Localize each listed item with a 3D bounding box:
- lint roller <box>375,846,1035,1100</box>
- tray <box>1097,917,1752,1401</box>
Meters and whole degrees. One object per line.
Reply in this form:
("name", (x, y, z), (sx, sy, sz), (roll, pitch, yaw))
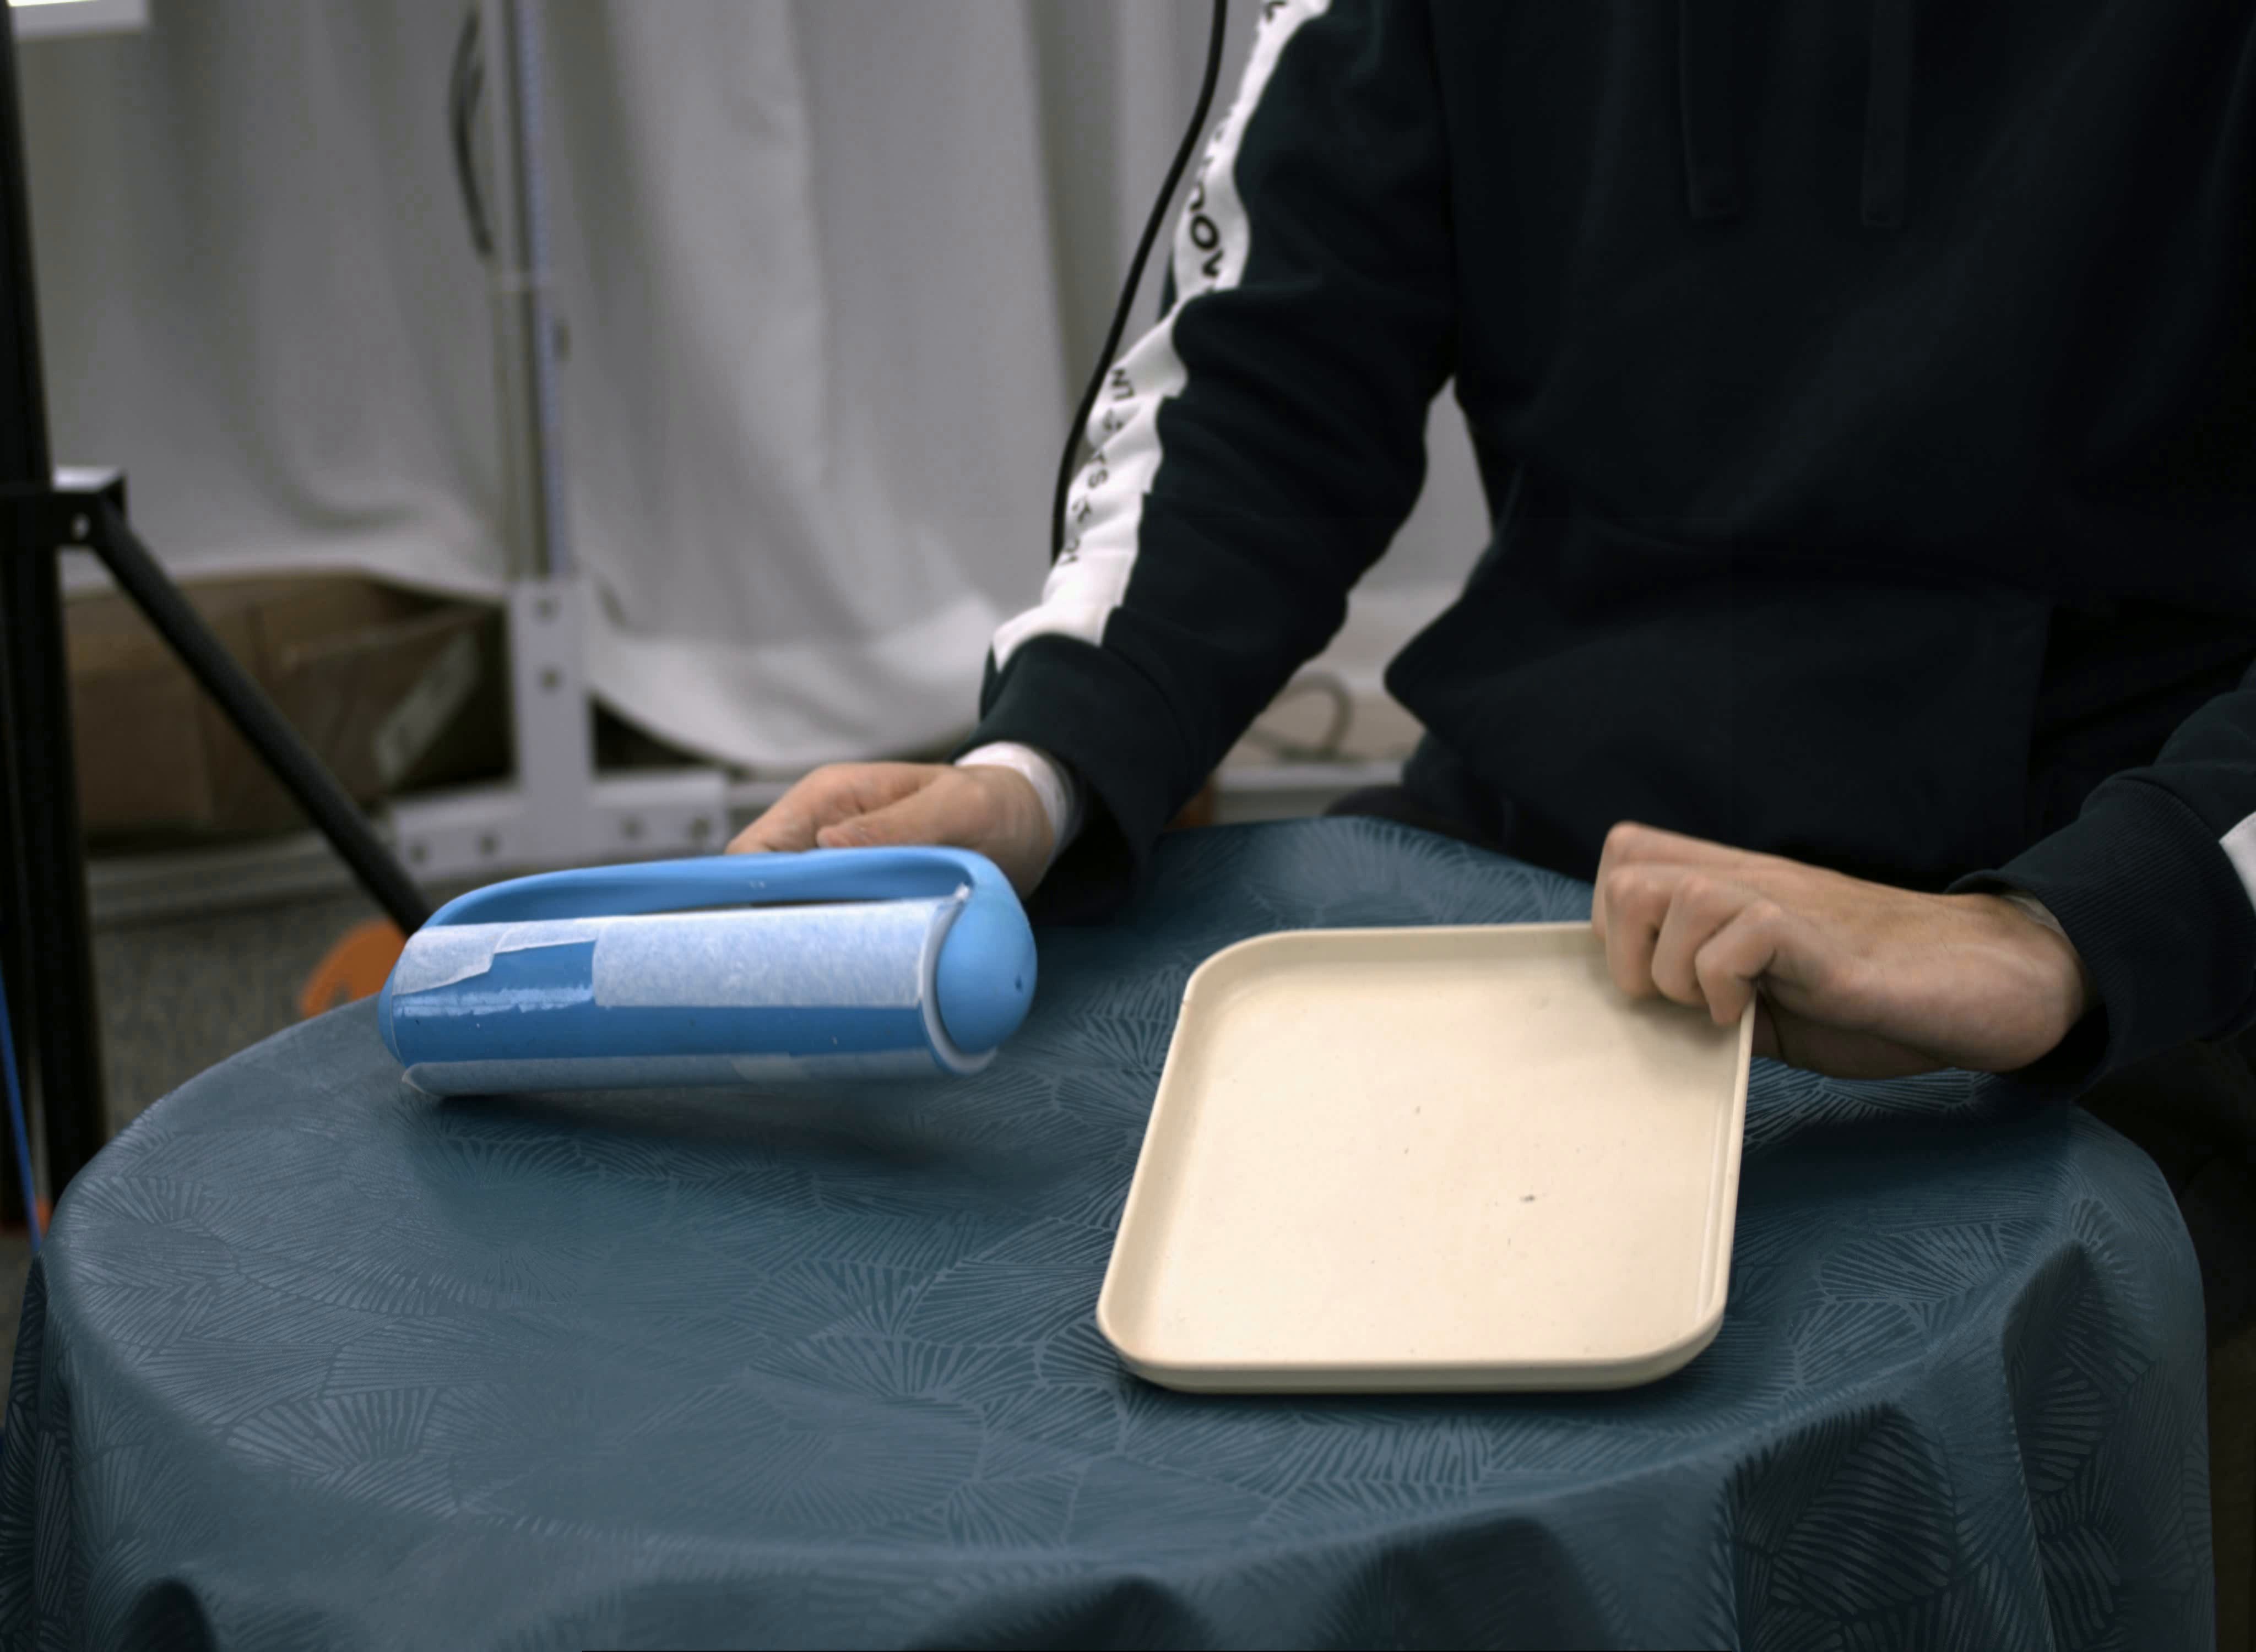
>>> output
("lint roller", (-0.108, 0.039, 1.675), (0.232, 0.068, 0.177), (-6, 9, 27))
("tray", (0.088, 0.092, 1.482), (0.172, 0.017, 0.240), (-2, 28, 11))
